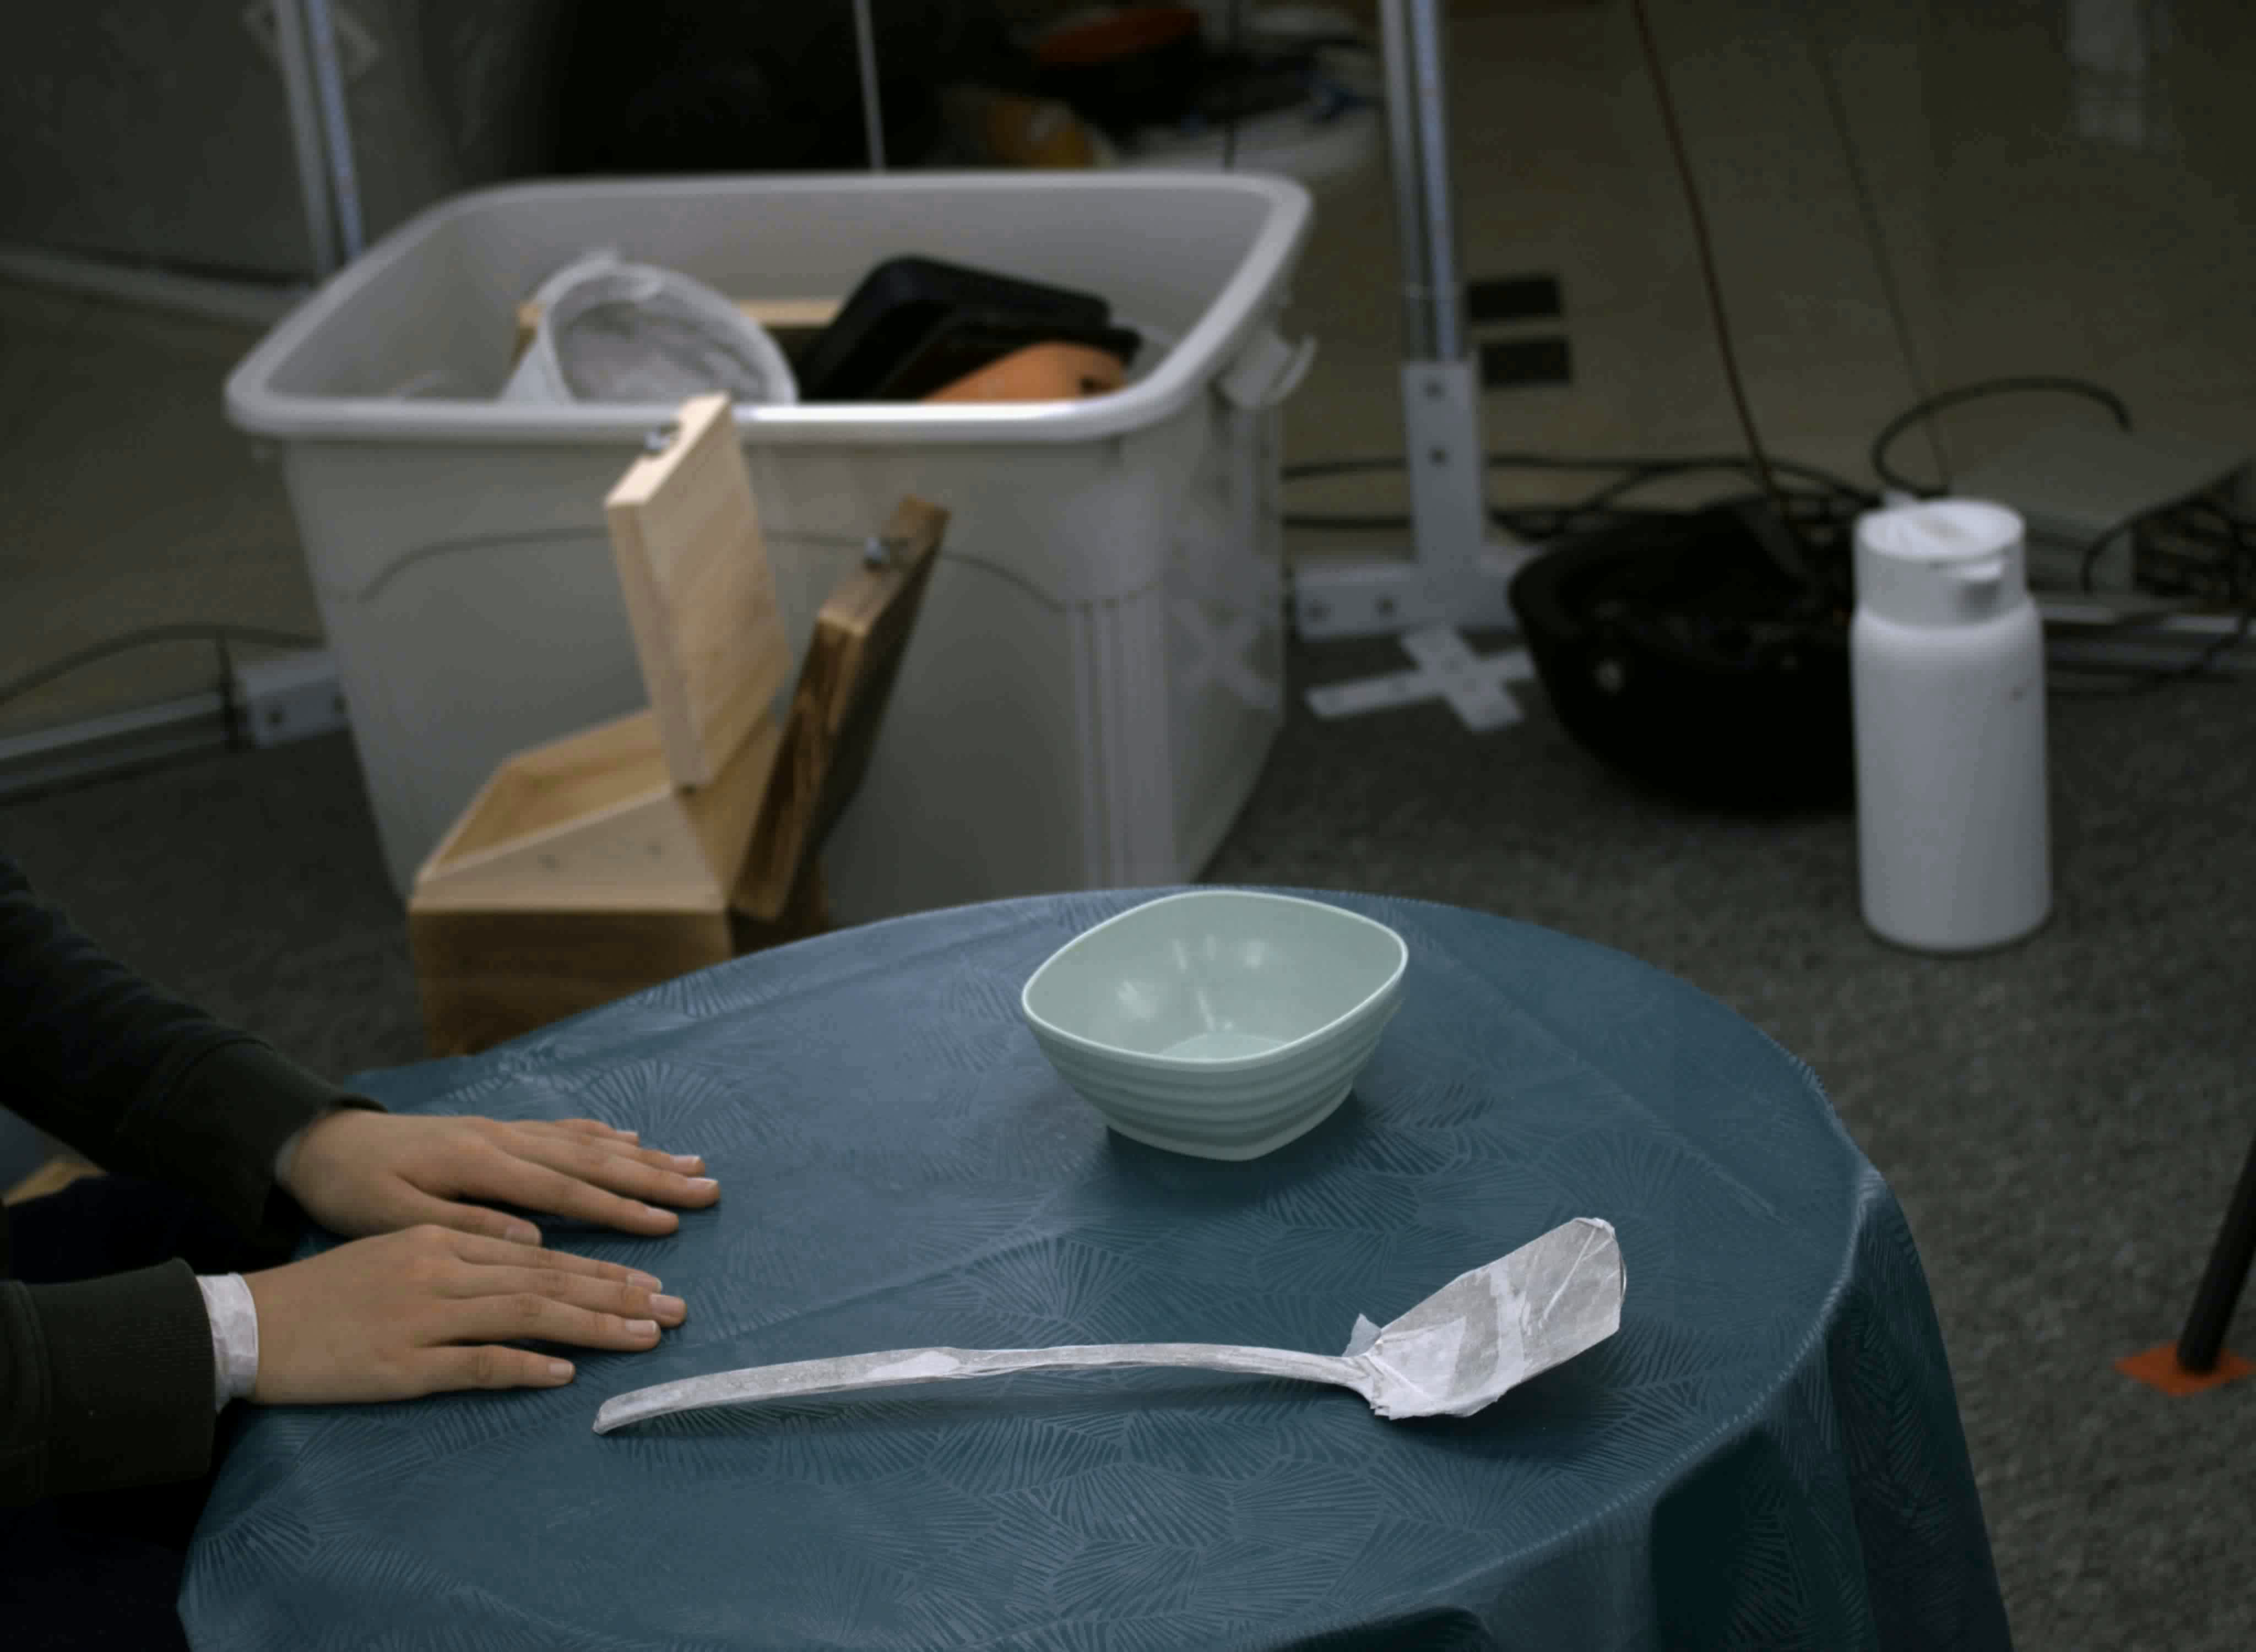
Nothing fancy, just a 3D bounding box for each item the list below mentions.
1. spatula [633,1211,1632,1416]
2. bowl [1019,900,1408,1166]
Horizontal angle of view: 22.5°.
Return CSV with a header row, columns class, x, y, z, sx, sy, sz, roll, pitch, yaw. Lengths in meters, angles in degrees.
class,x,y,z,sx,sy,sz,roll,pitch,yaw
spatula,-0.003,0.183,2.012,0.364,0.045,0.097,-3,27,7
bowl,0.035,0.085,2.195,0.151,0.059,0.149,-3,24,1
